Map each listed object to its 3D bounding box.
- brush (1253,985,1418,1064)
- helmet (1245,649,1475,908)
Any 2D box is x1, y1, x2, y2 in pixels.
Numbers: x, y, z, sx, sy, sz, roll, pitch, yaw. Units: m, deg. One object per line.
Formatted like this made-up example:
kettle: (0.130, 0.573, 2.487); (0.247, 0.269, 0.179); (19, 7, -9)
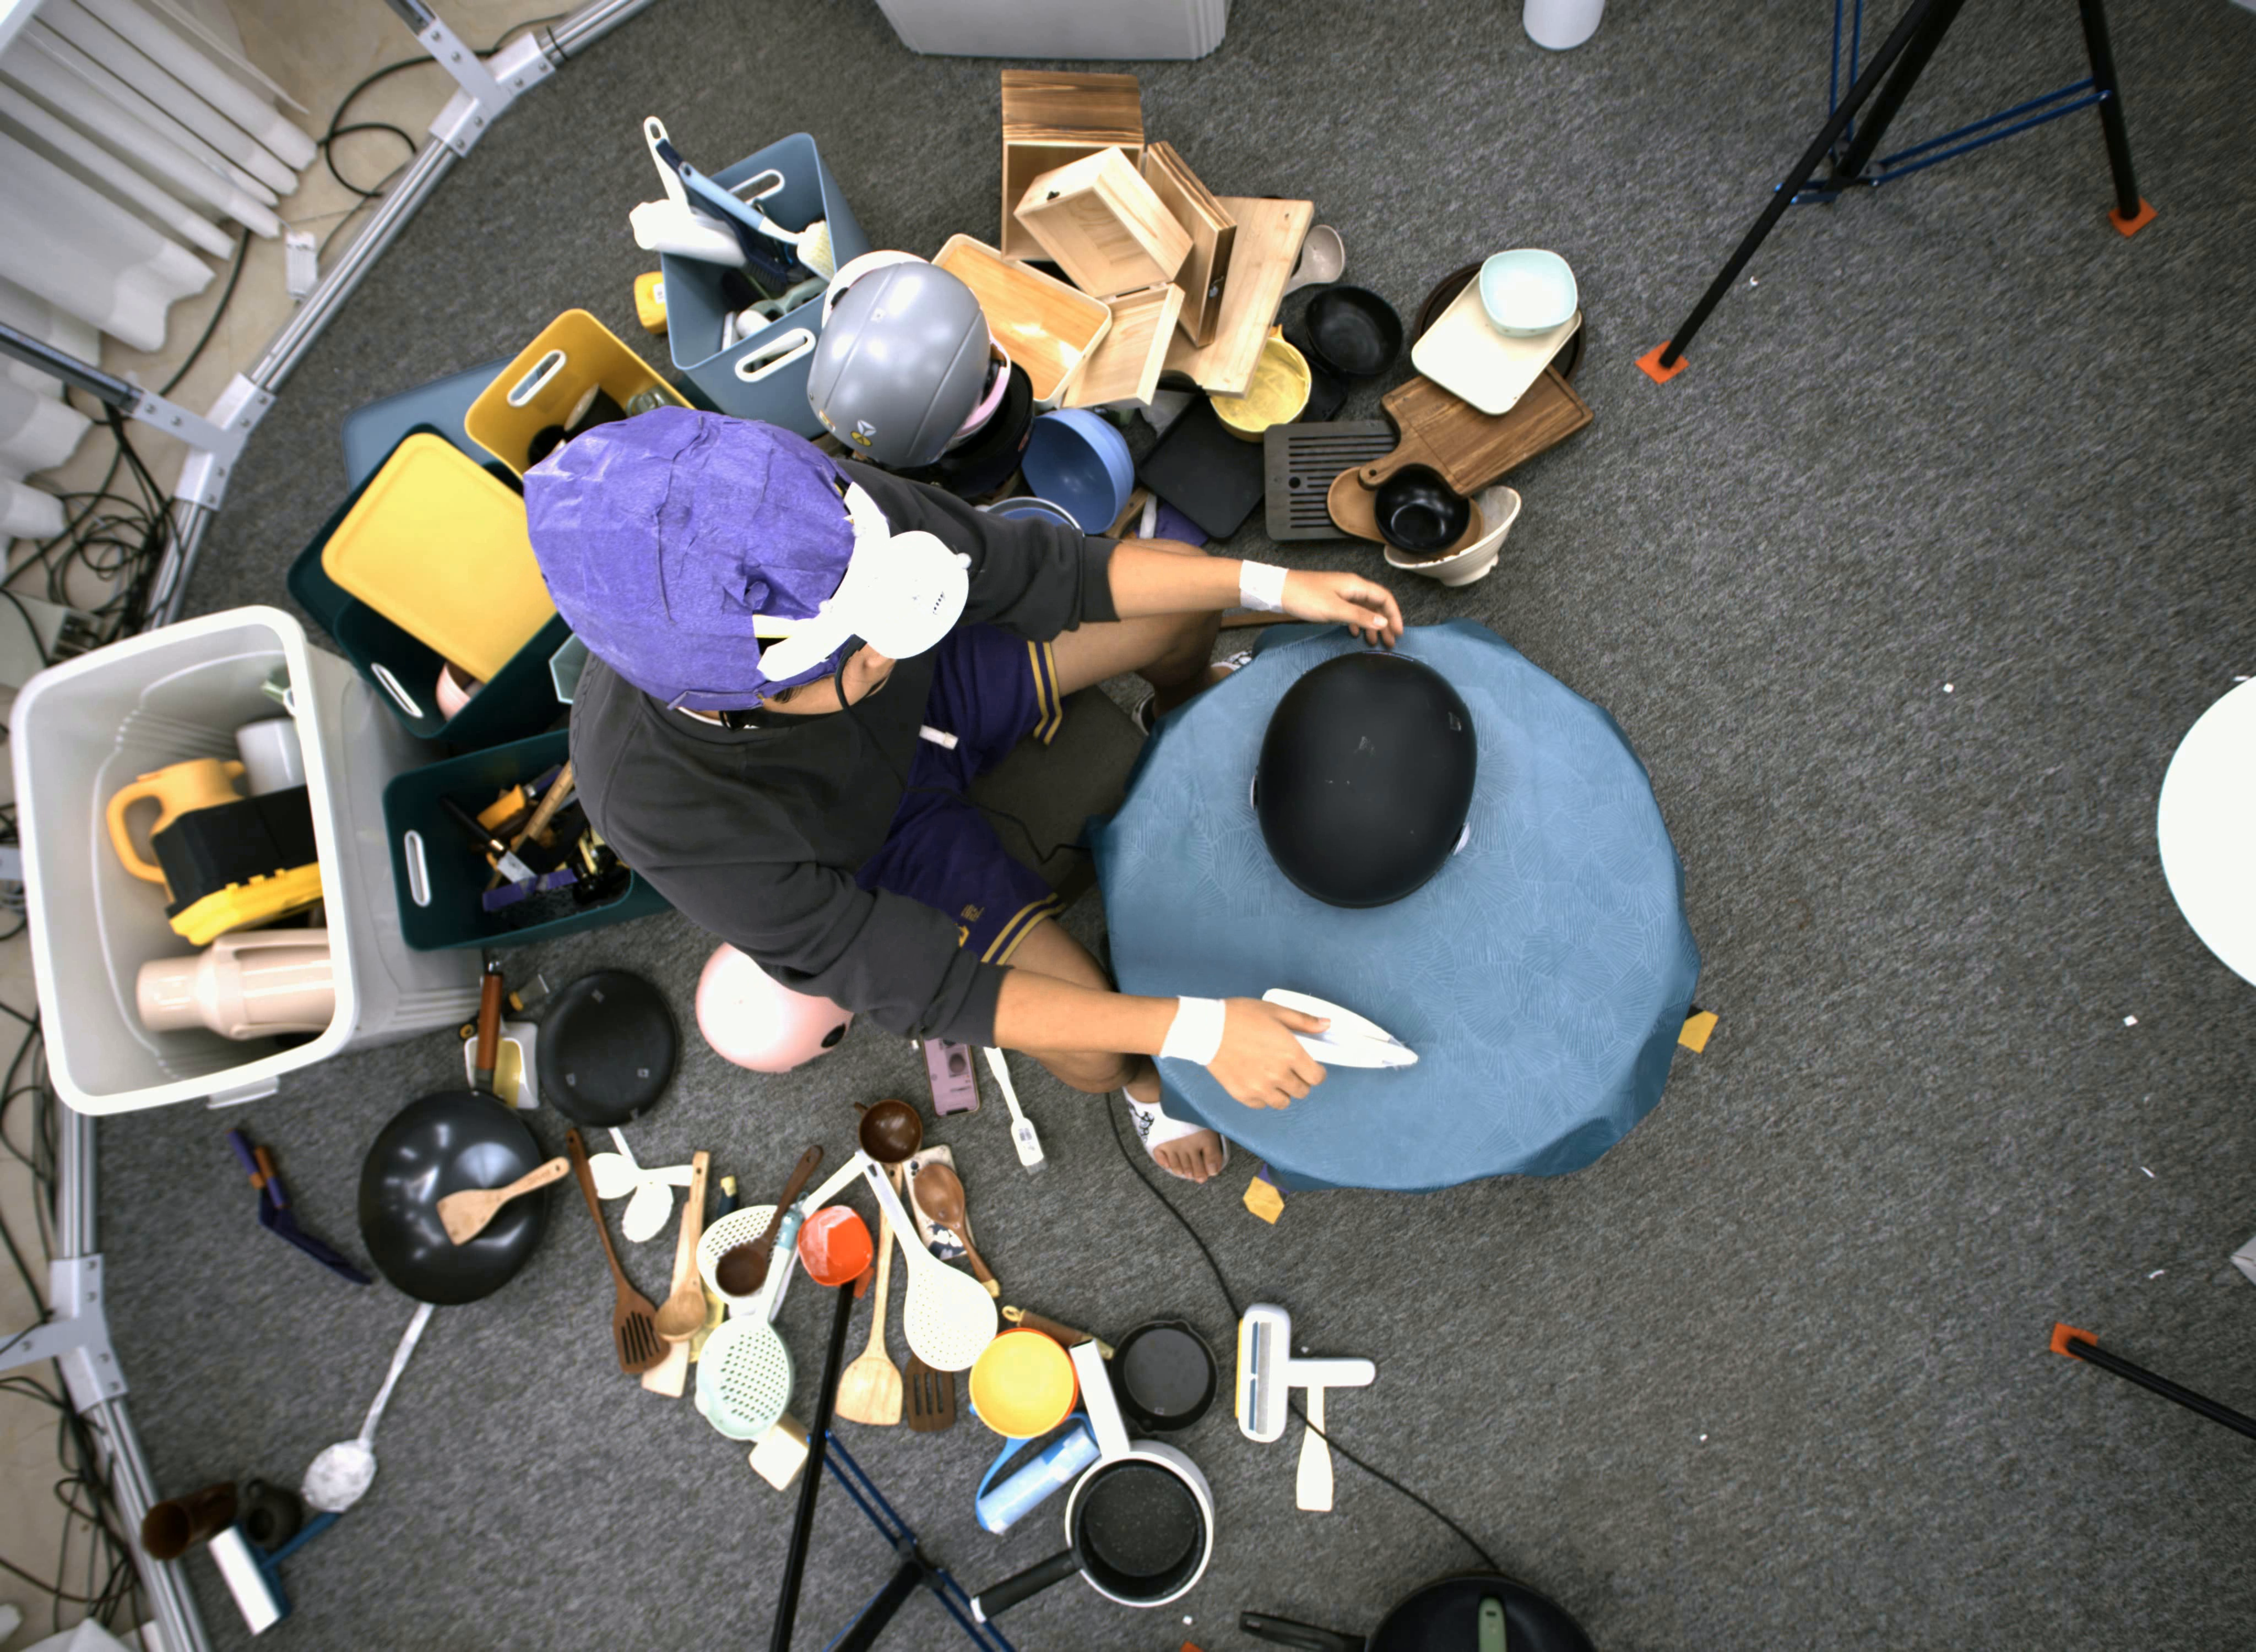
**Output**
brush: (0.212, 0.211, 1.415); (0.175, 0.094, 0.061); (16, 90, 9)
helmet: (0.236, -0.054, 1.391); (0.230, 0.166, 0.273); (15, 91, 11)
